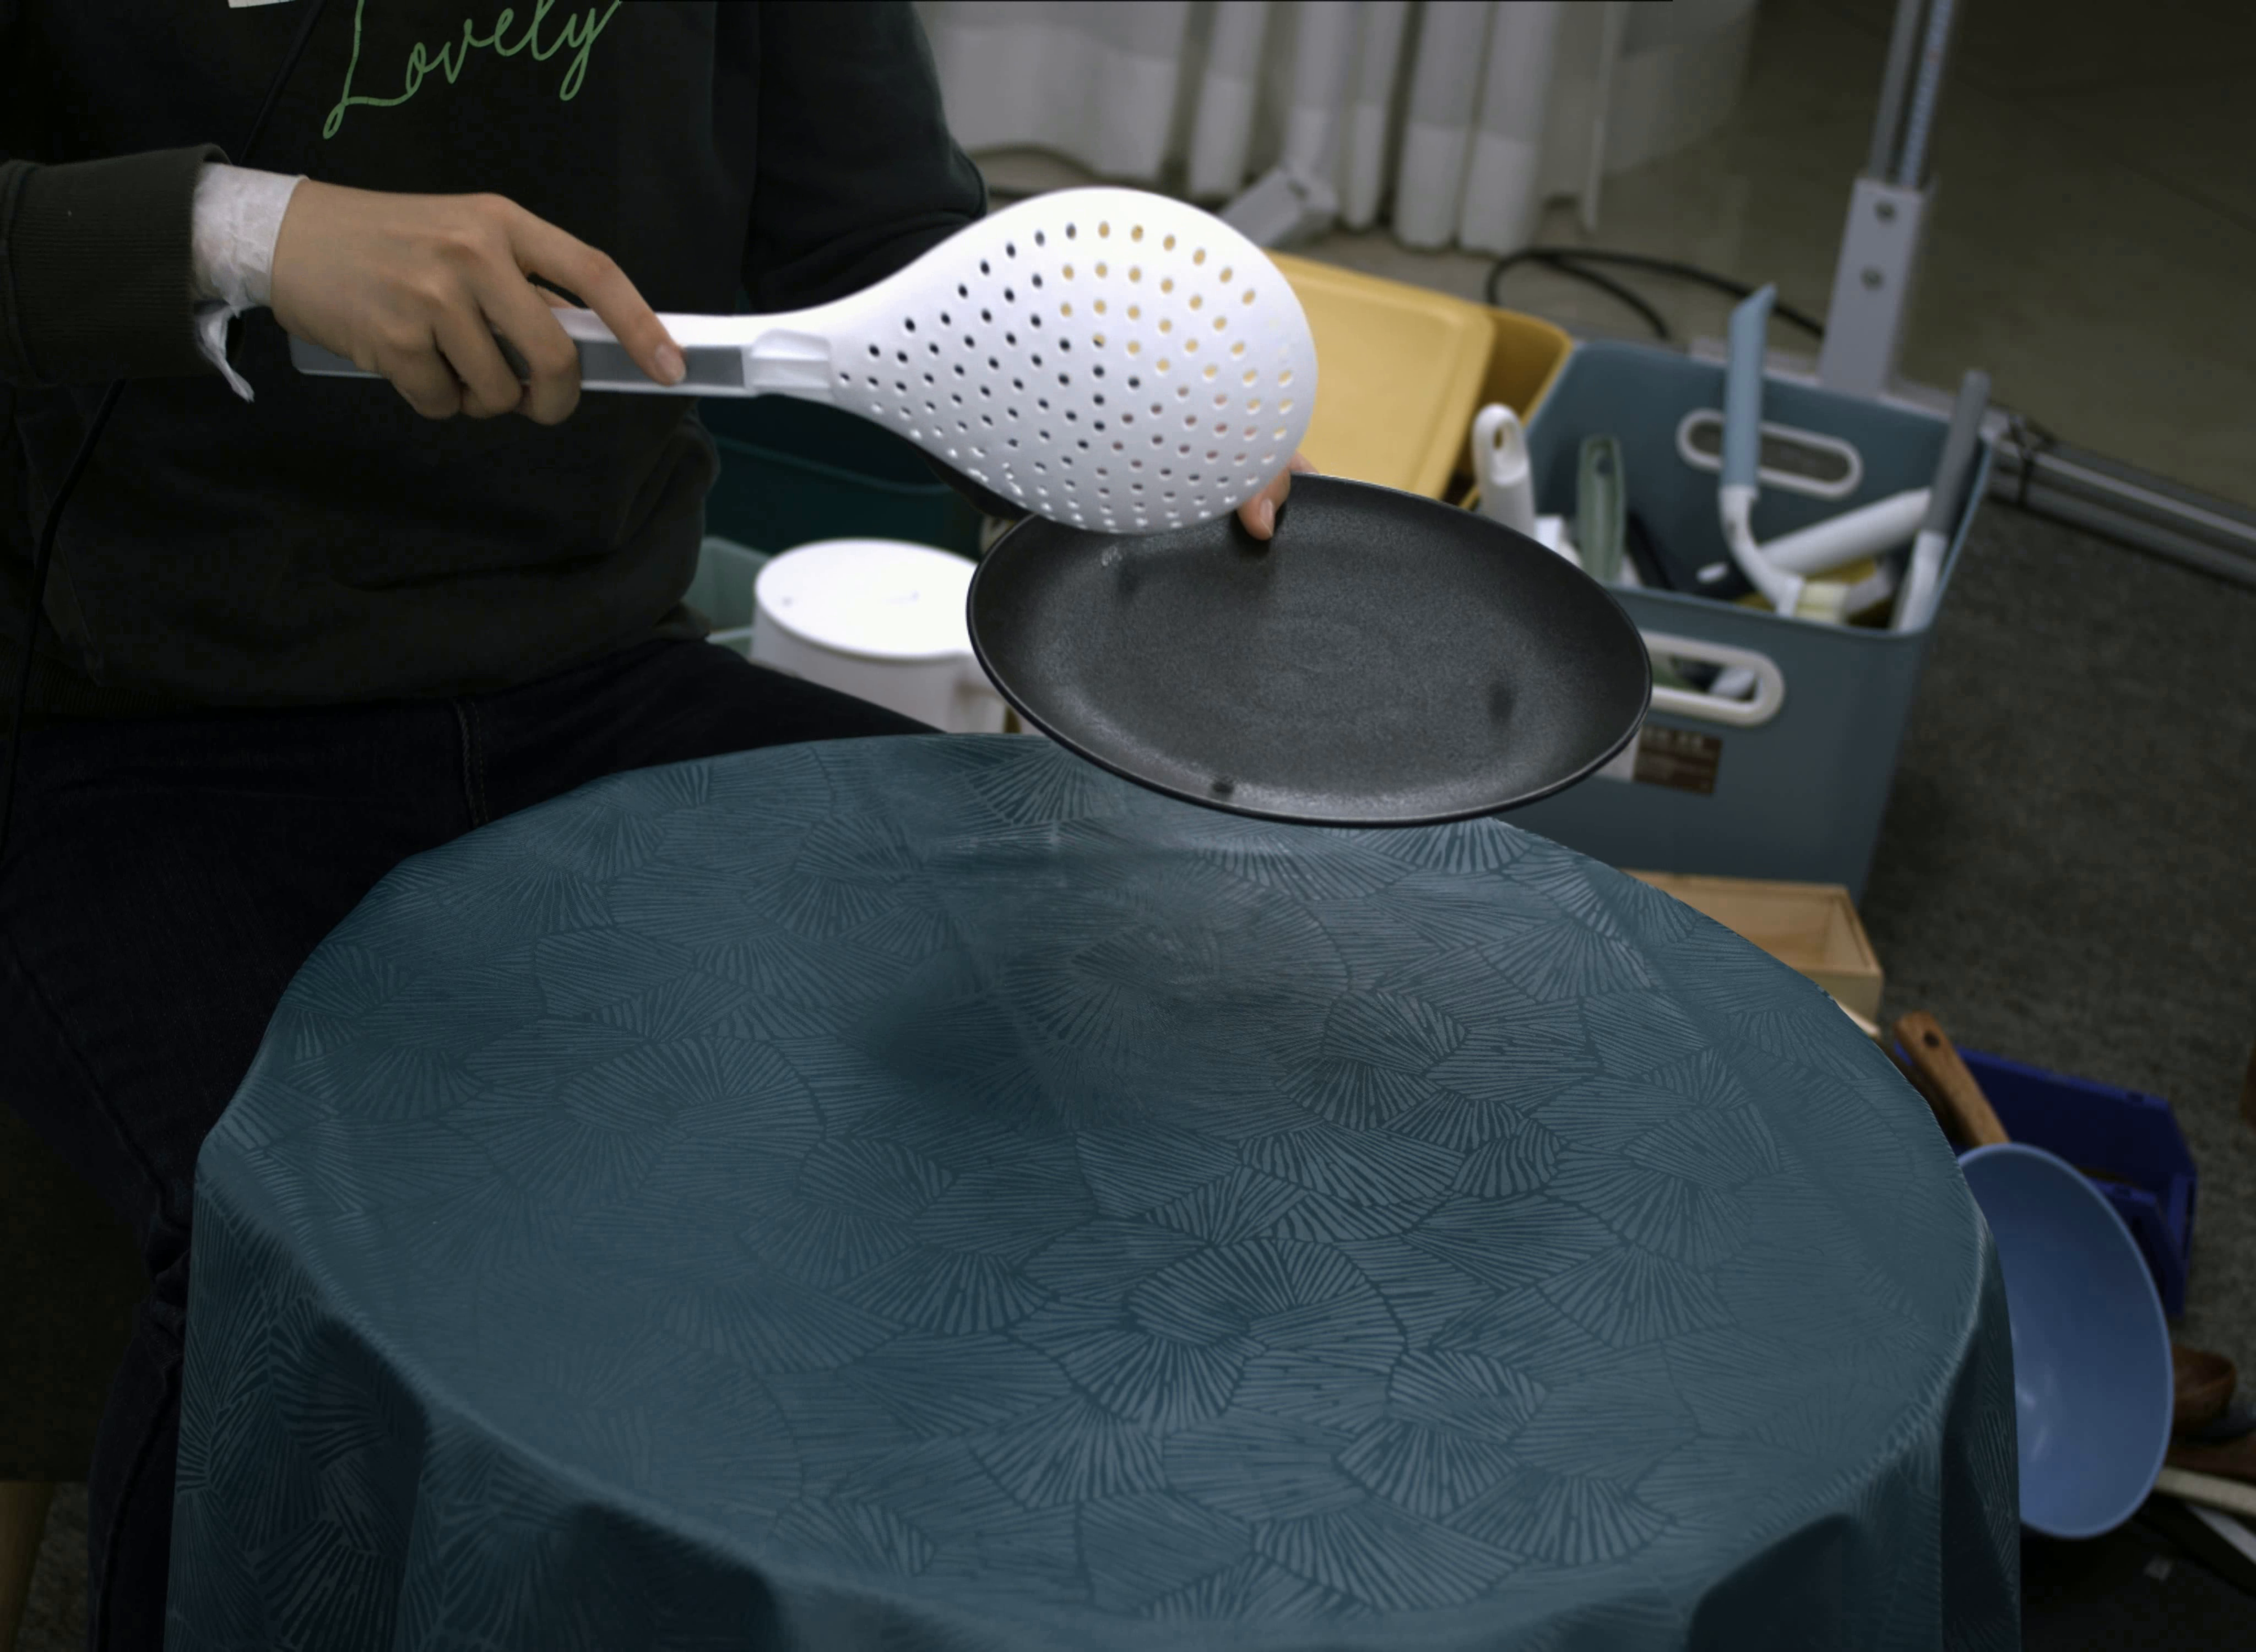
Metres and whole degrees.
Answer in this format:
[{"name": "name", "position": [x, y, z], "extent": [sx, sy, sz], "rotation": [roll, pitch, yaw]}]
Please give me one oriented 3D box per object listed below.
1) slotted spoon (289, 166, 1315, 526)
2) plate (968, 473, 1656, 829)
[{"name": "slotted spoon", "position": [-0.112, -0.160, 1.792], "extent": [0.350, 0.135, 0.046], "rotation": [5, 34, 12]}, {"name": "plate", "position": [0.064, -0.058, 1.872], "extent": [0.243, 0.023, 0.246], "rotation": [4, 31, -3]}]
